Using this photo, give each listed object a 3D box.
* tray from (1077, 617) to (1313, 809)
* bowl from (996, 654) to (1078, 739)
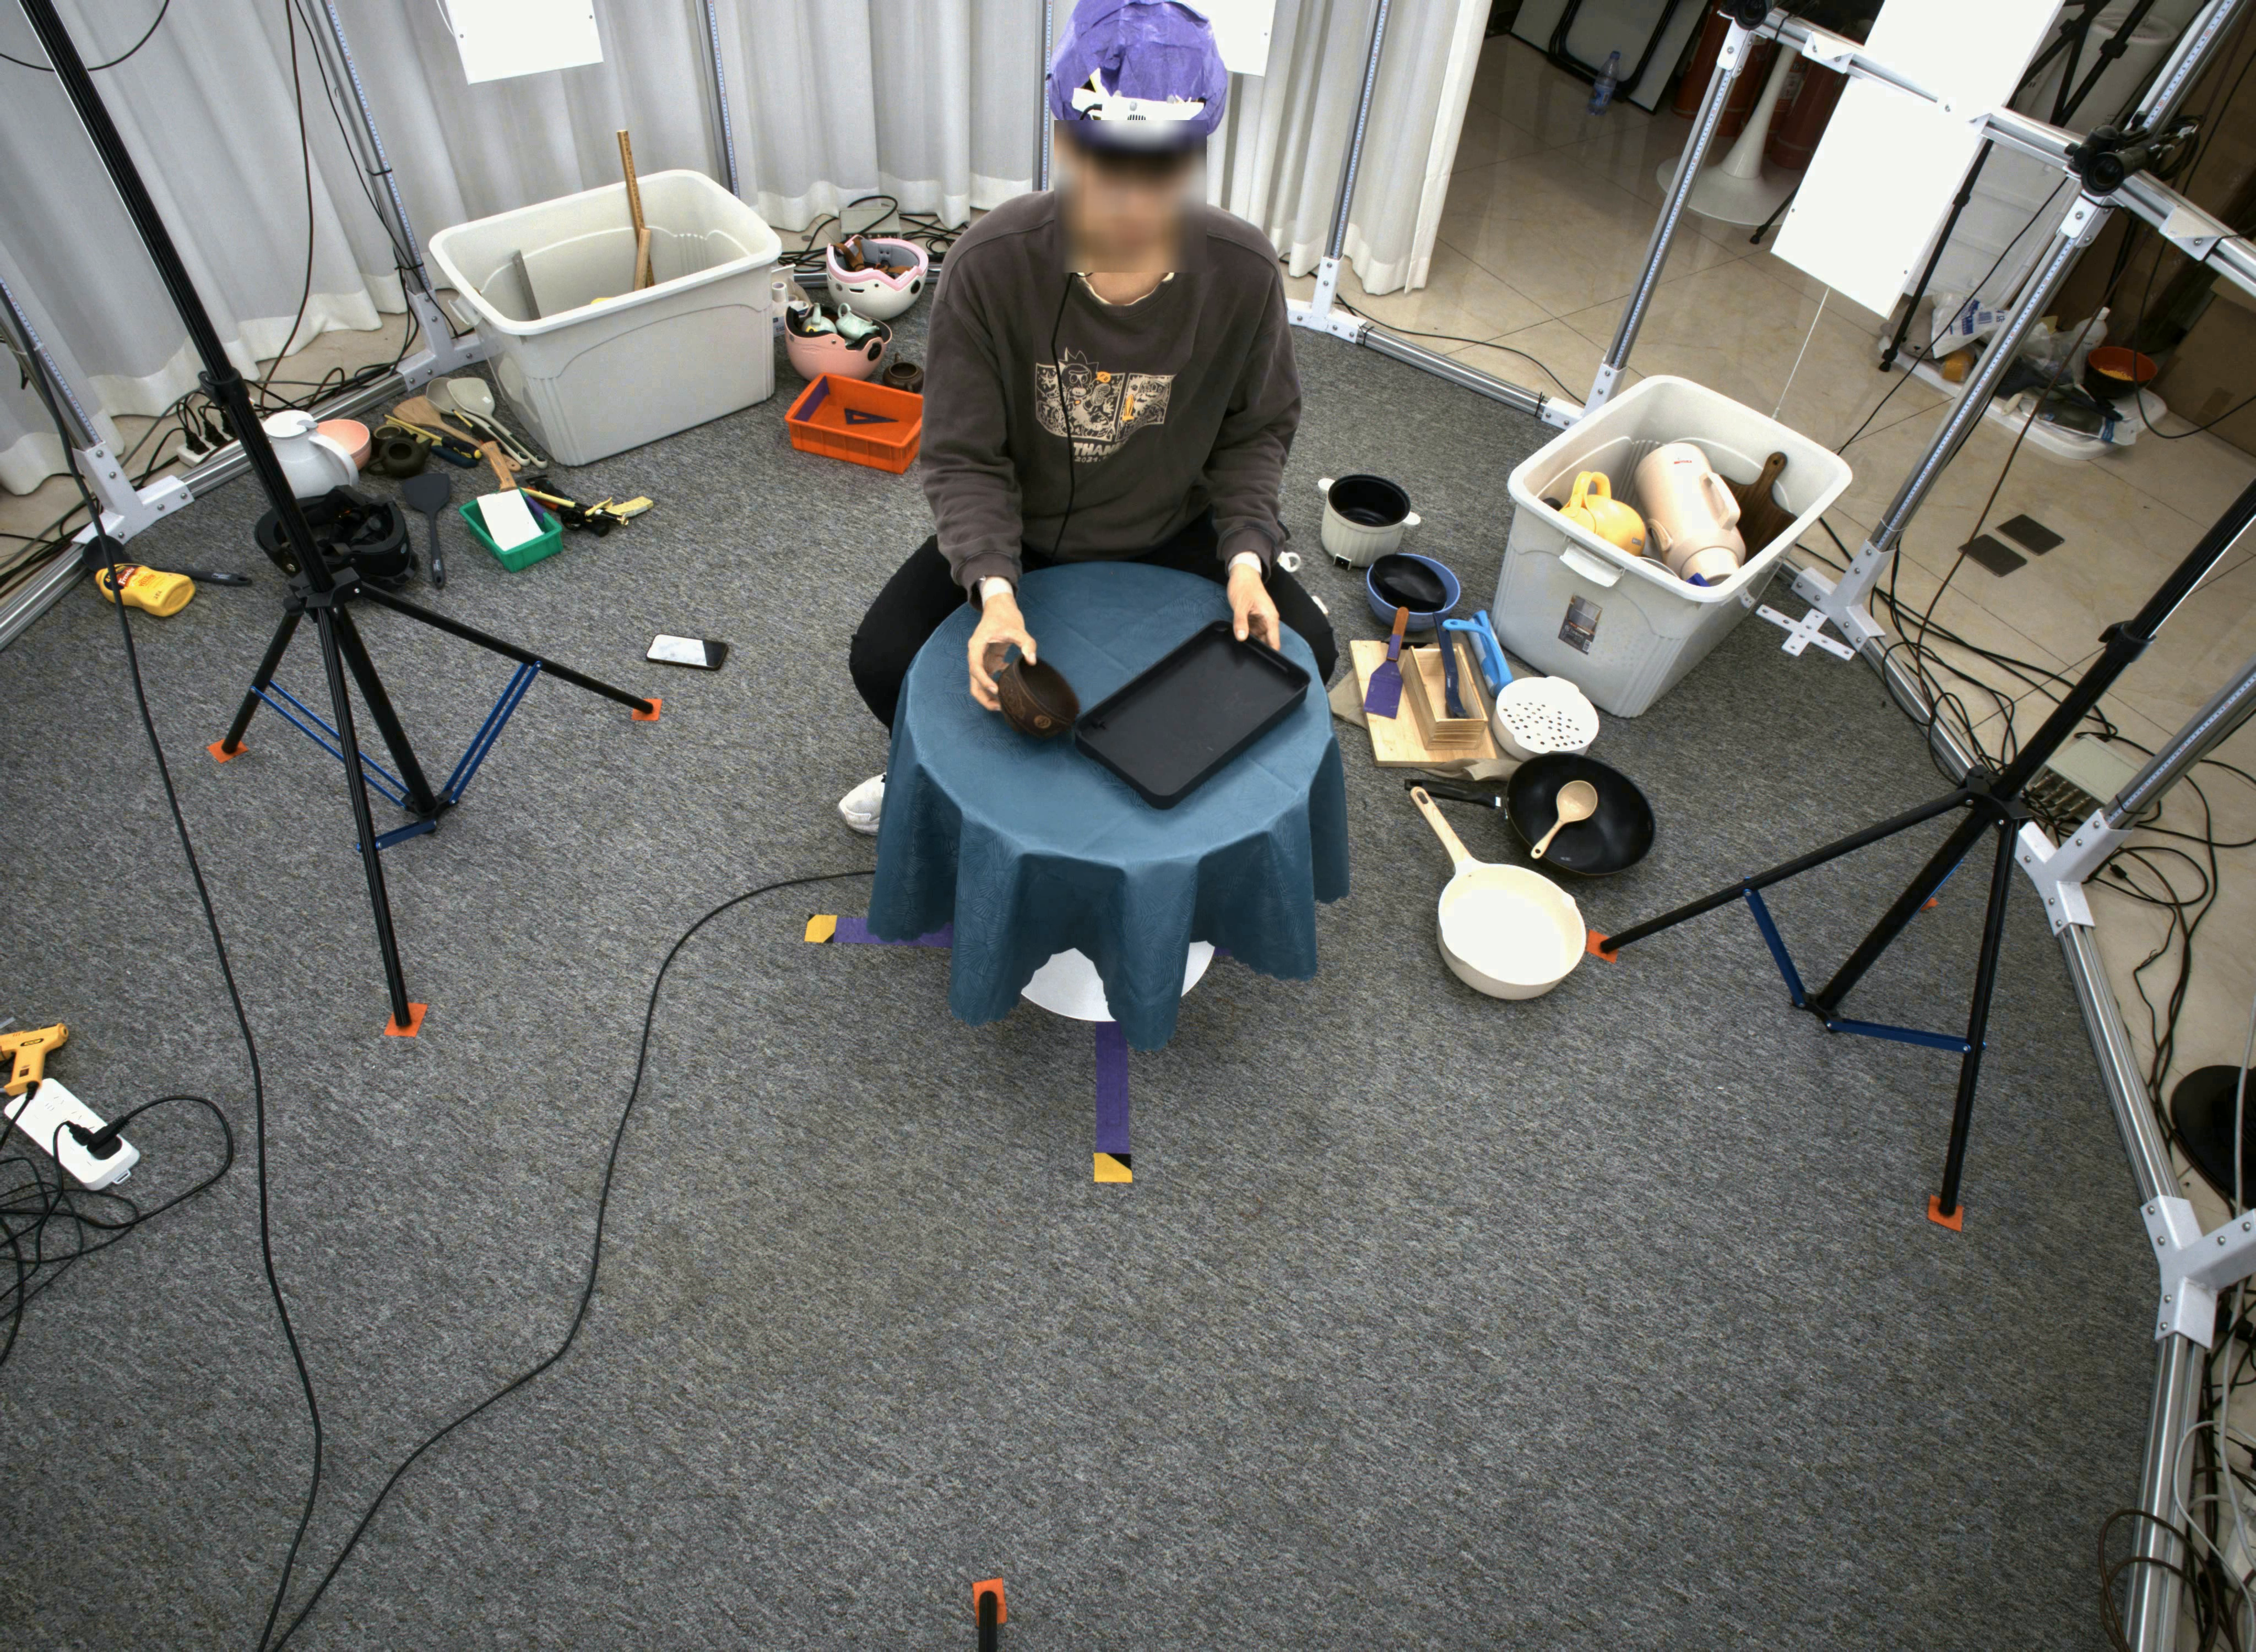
[{"bbox_3d":[0.096,-0.164,1.783,0.187,0.036,0.321,35,59,25],"label":"tray"},{"bbox_3d":[-0.131,-0.167,1.739,0.116,0.069,0.120,40,24,-22],"label":"bowl"}]
